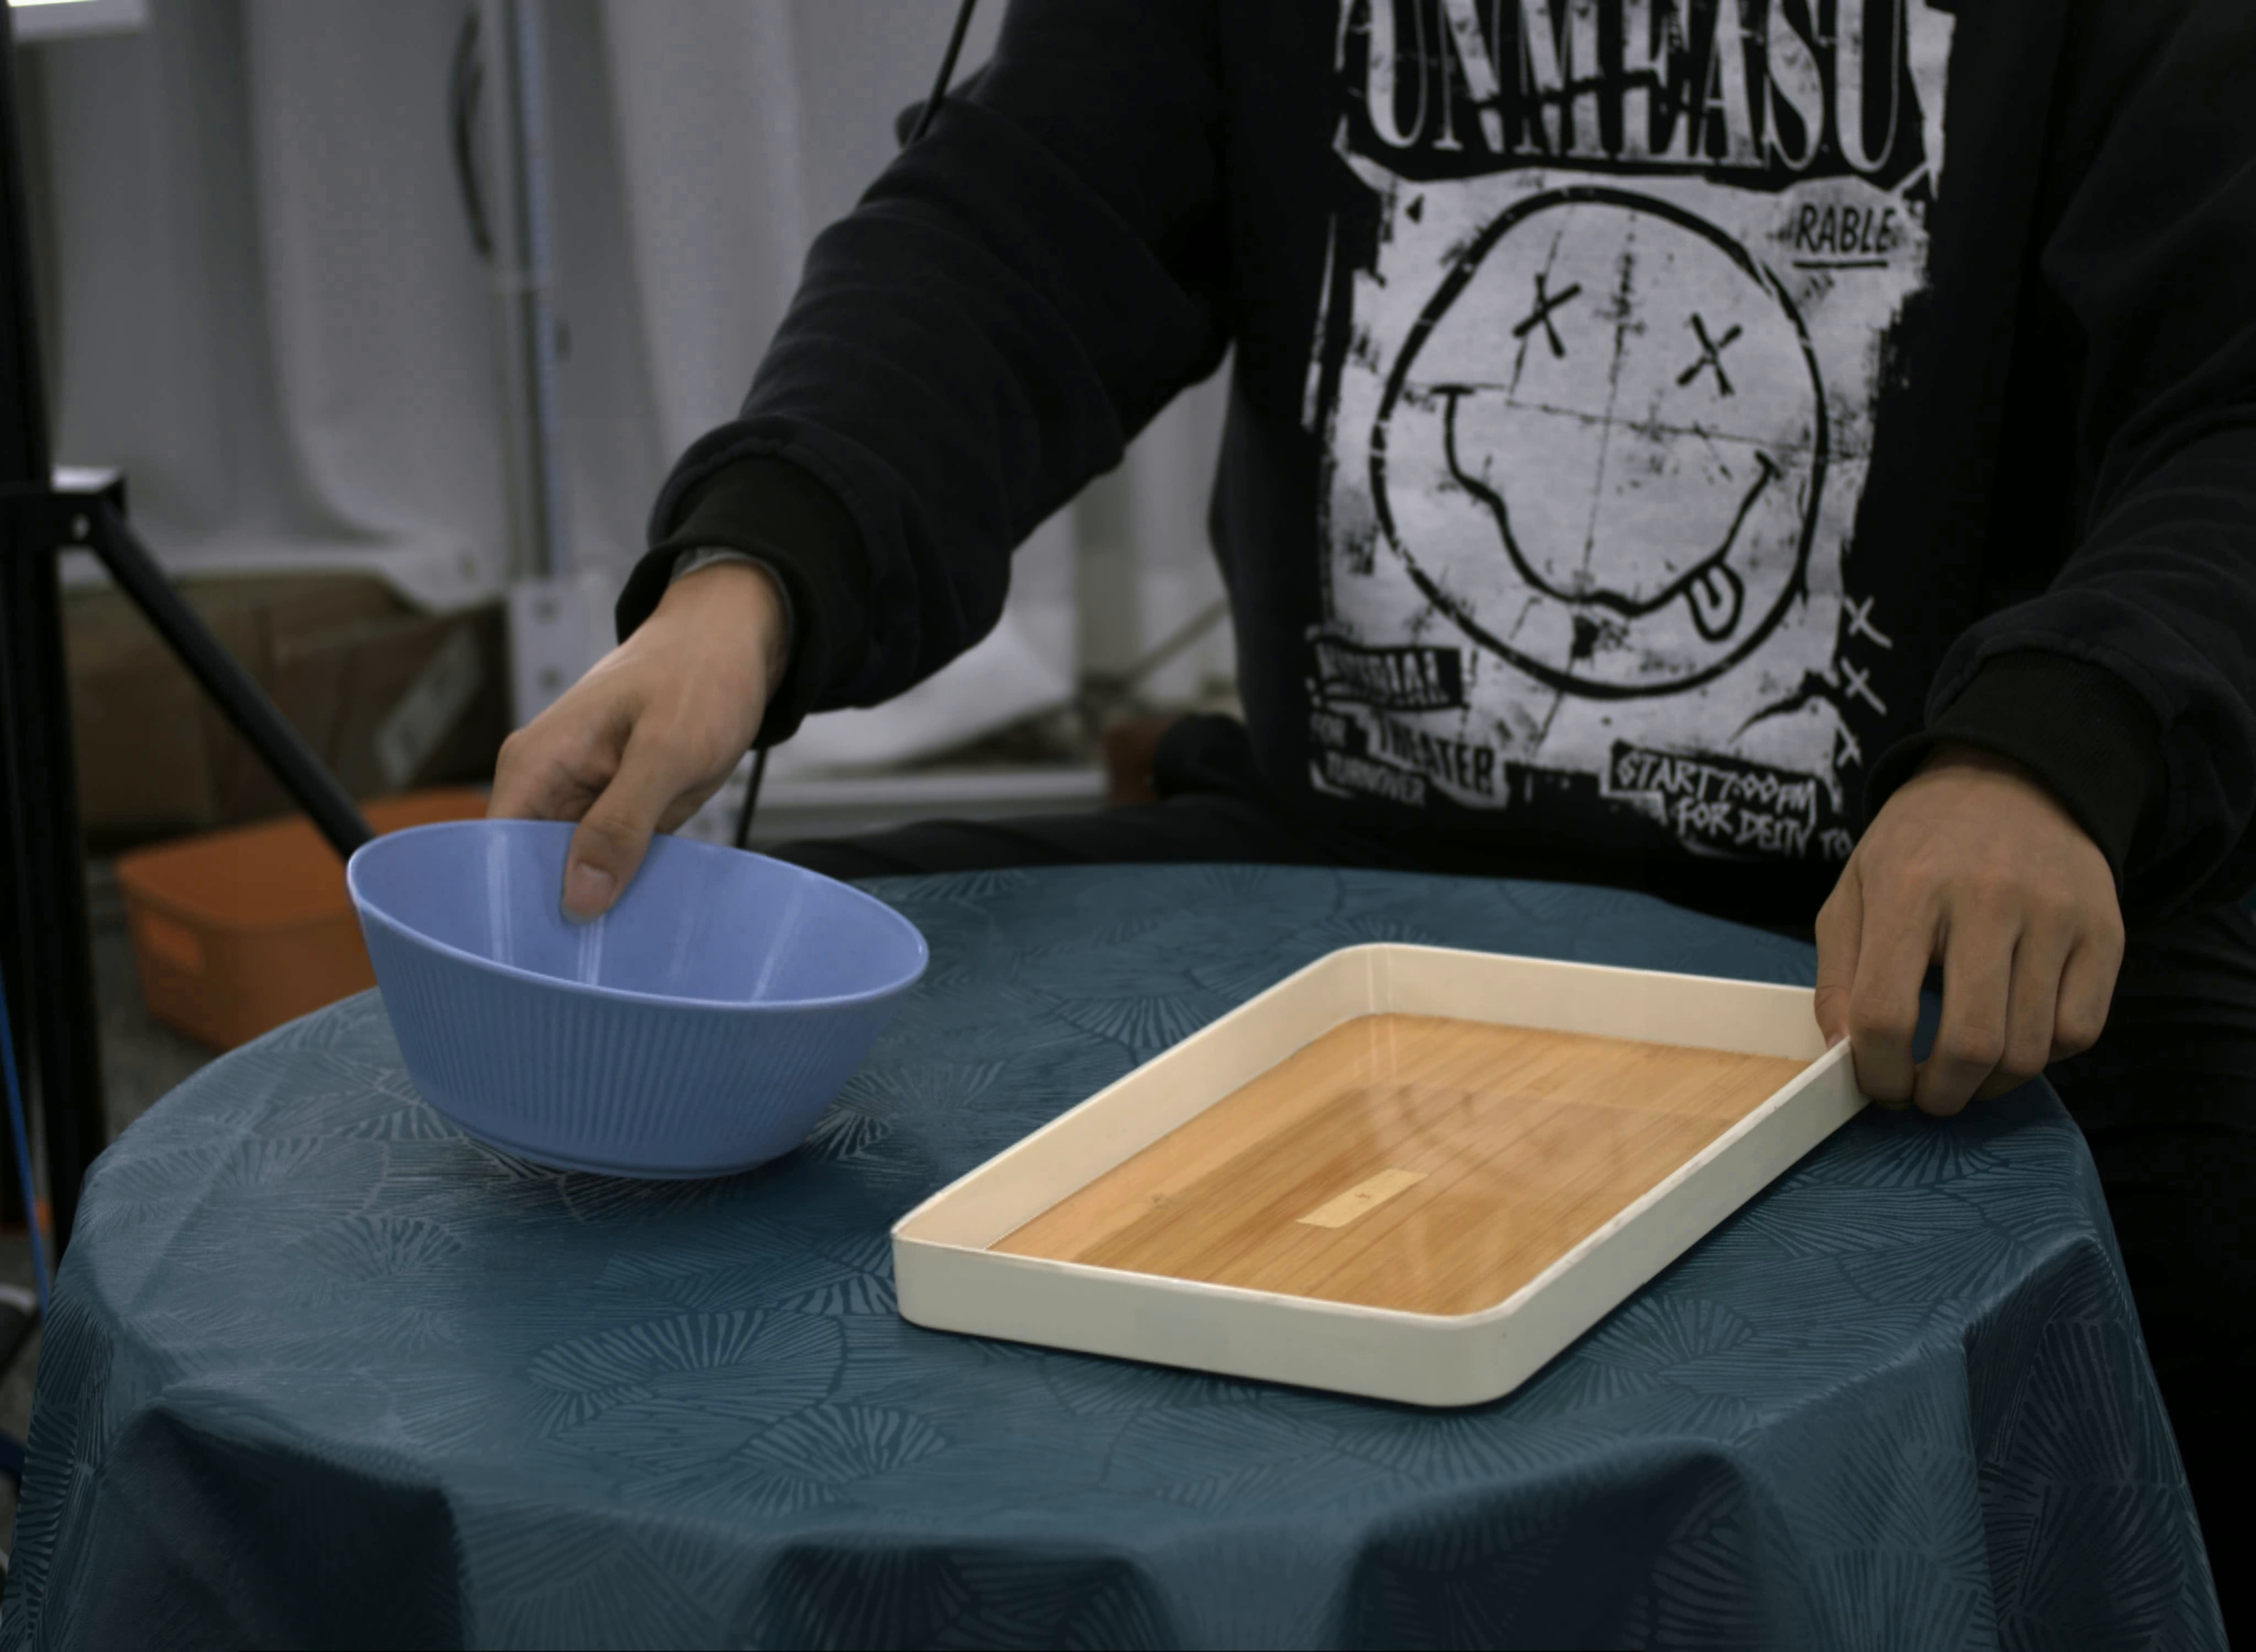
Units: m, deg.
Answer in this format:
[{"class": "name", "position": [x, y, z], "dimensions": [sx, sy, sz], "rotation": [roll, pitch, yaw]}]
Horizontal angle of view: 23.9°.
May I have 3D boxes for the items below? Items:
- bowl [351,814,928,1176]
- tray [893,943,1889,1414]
[{"class": "bowl", "position": [-0.151, 0.054, 1.606], "dimensions": [0.175, 0.070, 0.177], "rotation": [9, 15, -4]}, {"class": "tray", "position": [0.083, 0.096, 1.534], "dimensions": [0.195, 0.027, 0.295], "rotation": [6, 18, 29]}]
